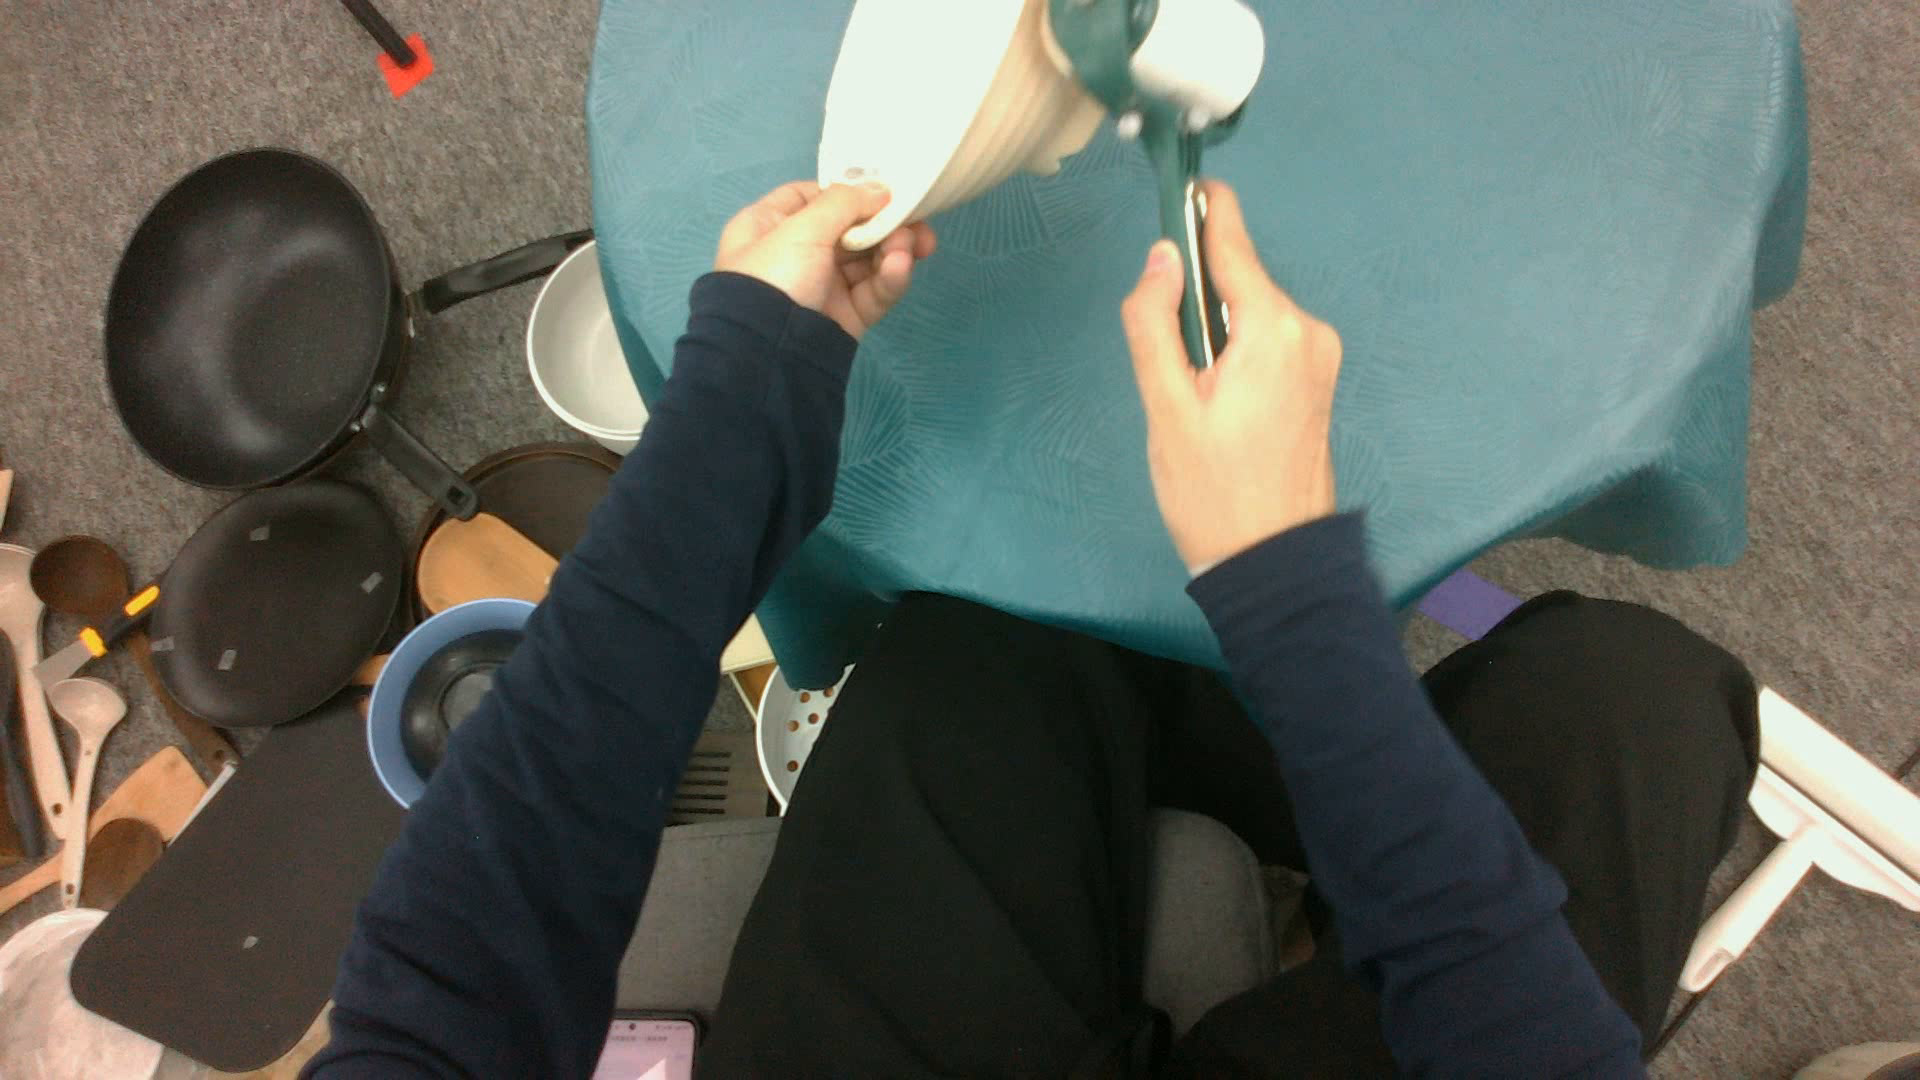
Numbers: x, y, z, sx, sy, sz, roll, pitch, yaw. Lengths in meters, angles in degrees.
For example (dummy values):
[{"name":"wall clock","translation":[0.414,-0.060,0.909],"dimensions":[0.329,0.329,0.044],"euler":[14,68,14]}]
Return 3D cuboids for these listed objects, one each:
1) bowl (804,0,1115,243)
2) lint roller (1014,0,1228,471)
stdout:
[{"name":"bowl","translation":[0.009,-0.214,0.575],"dimensions":[0.078,0.203,0.204],"euler":[12,73,-27]},{"name":"lint roller","translation":[0.081,-0.118,0.518],"dimensions":[0.048,0.135,0.180],"euler":[-18,87,30]}]
